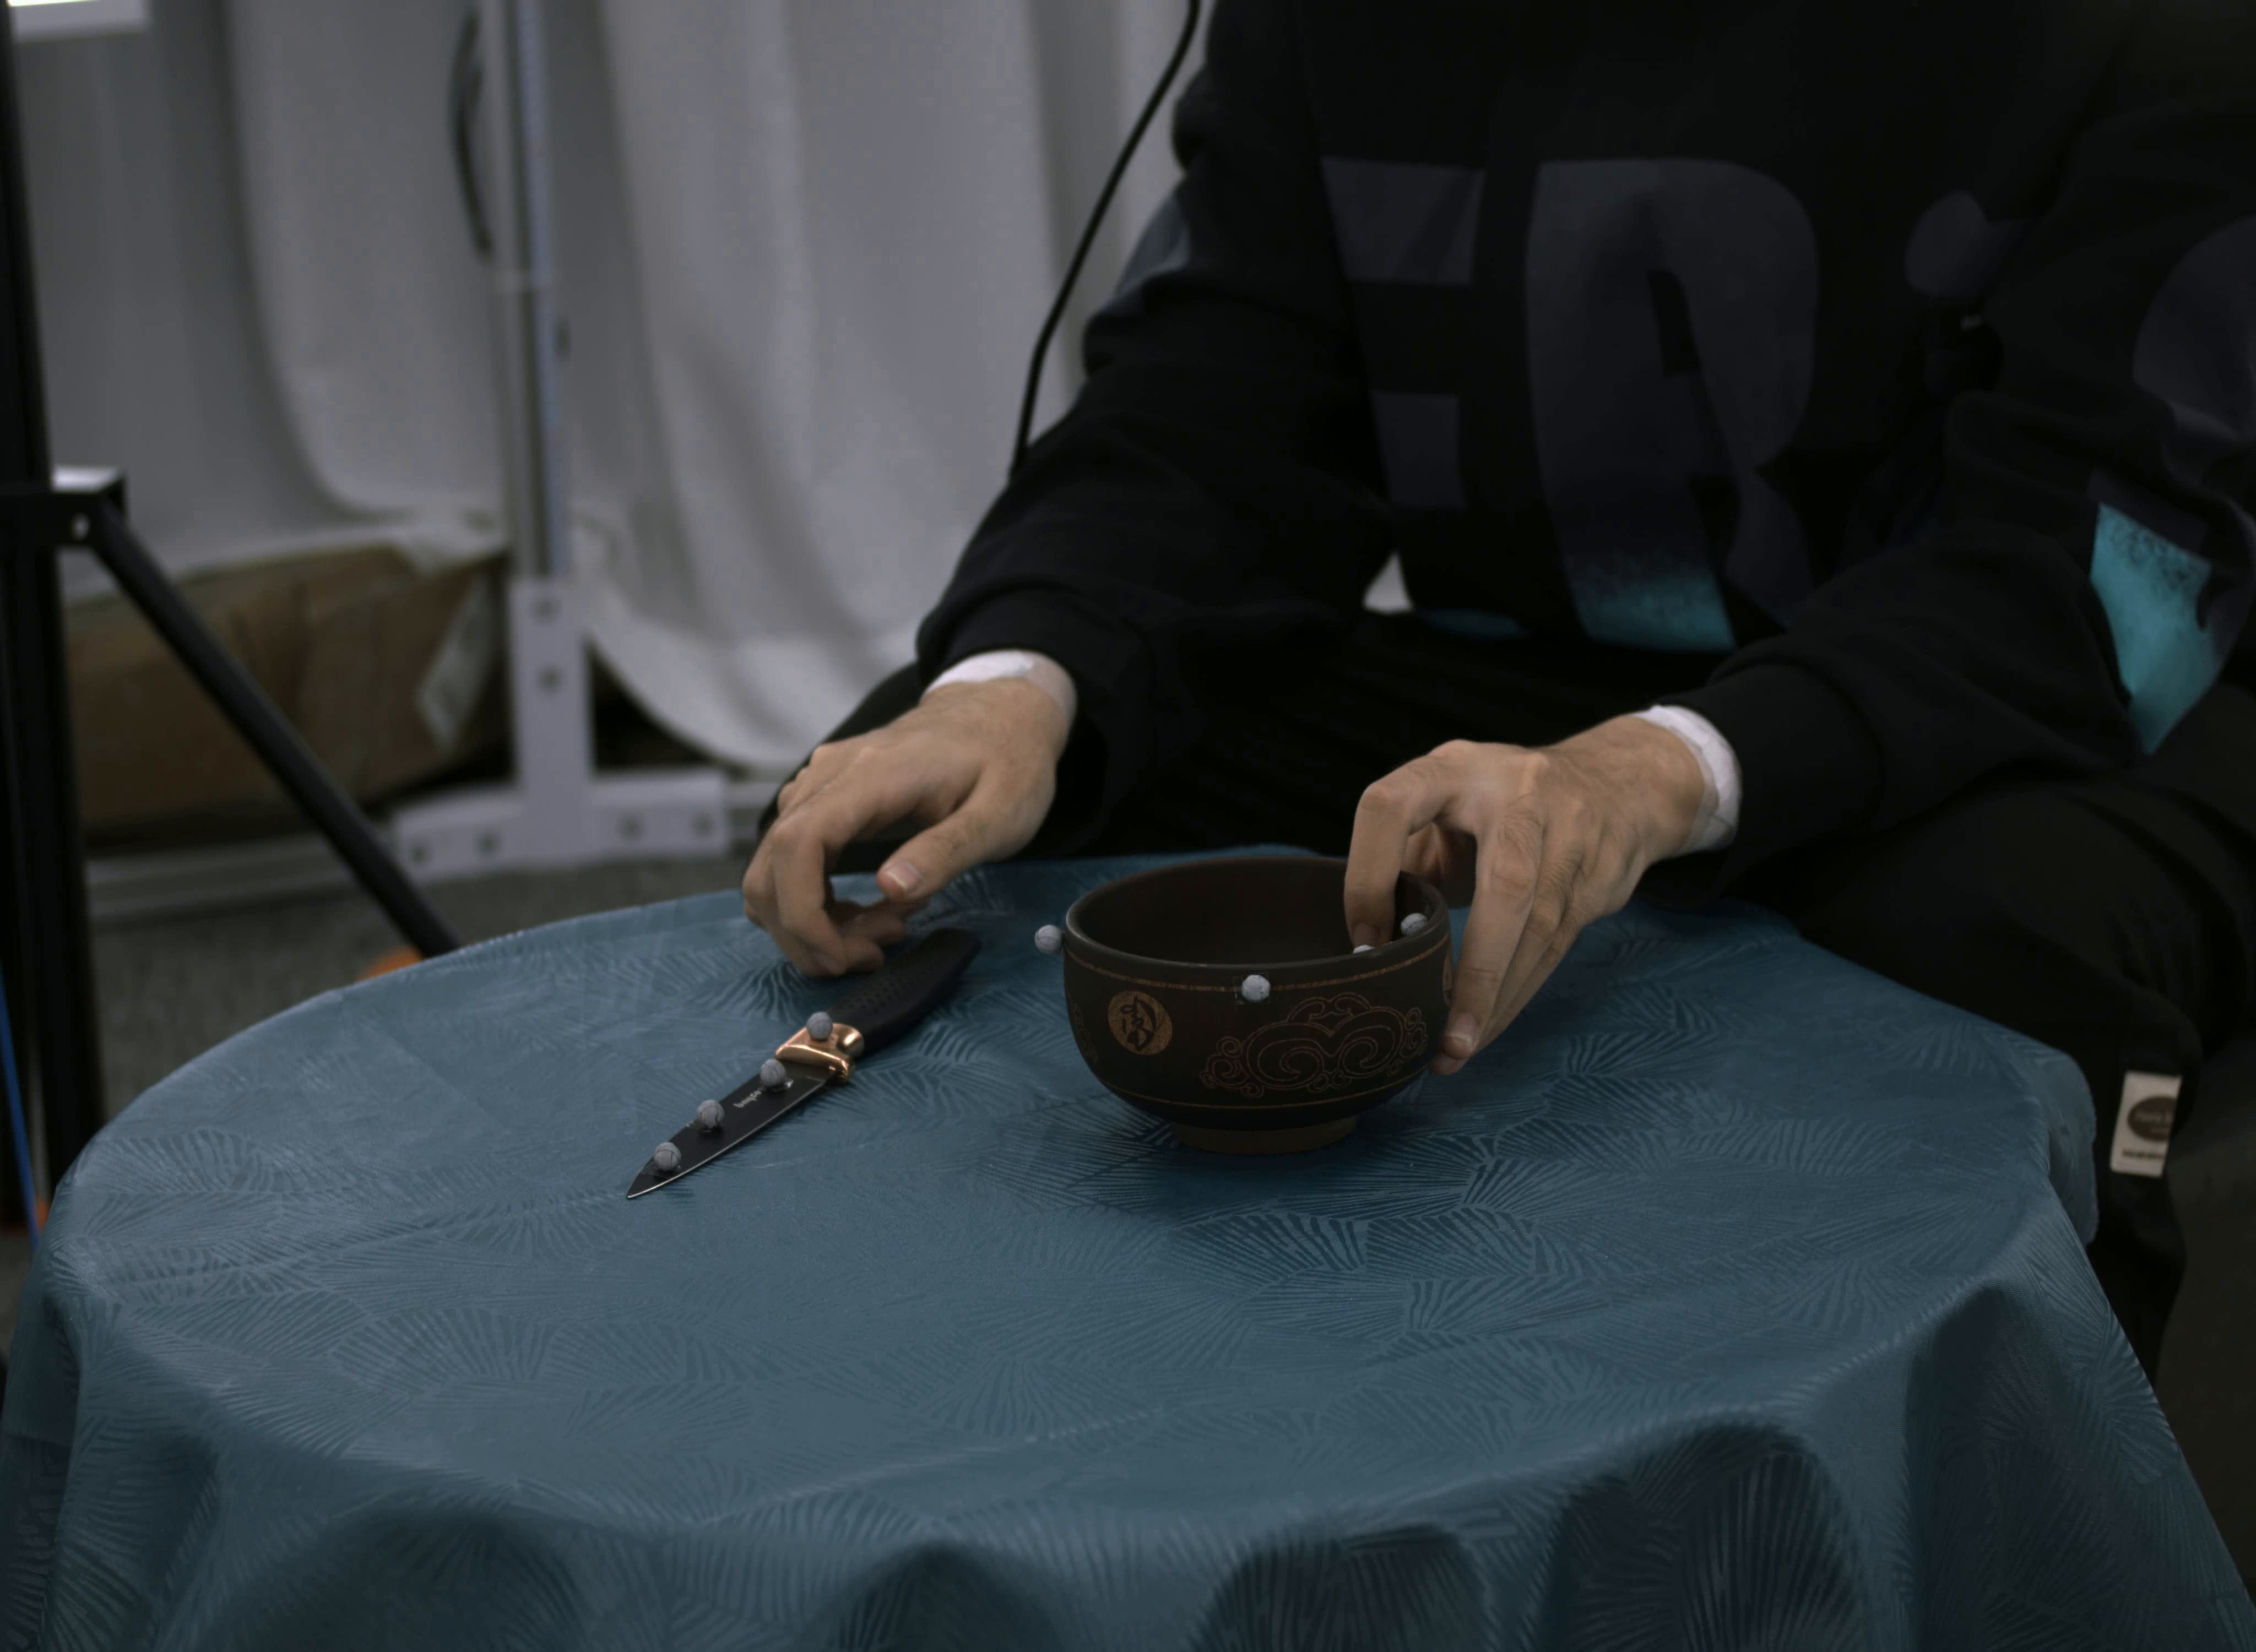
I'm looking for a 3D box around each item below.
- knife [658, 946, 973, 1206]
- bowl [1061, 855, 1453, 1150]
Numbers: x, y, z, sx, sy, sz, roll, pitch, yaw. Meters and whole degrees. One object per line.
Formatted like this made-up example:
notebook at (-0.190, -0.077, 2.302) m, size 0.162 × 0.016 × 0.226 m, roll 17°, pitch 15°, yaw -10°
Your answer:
knife at (-0.099, 0.077, 1.664) m, size 0.026 × 0.017 × 0.222 m, roll 12°, pitch 21°, yaw 20°
bowl at (0.039, 0.056, 1.596) m, size 0.117 × 0.070 × 0.118 m, roll -1°, pitch 14°, yaw -1°
